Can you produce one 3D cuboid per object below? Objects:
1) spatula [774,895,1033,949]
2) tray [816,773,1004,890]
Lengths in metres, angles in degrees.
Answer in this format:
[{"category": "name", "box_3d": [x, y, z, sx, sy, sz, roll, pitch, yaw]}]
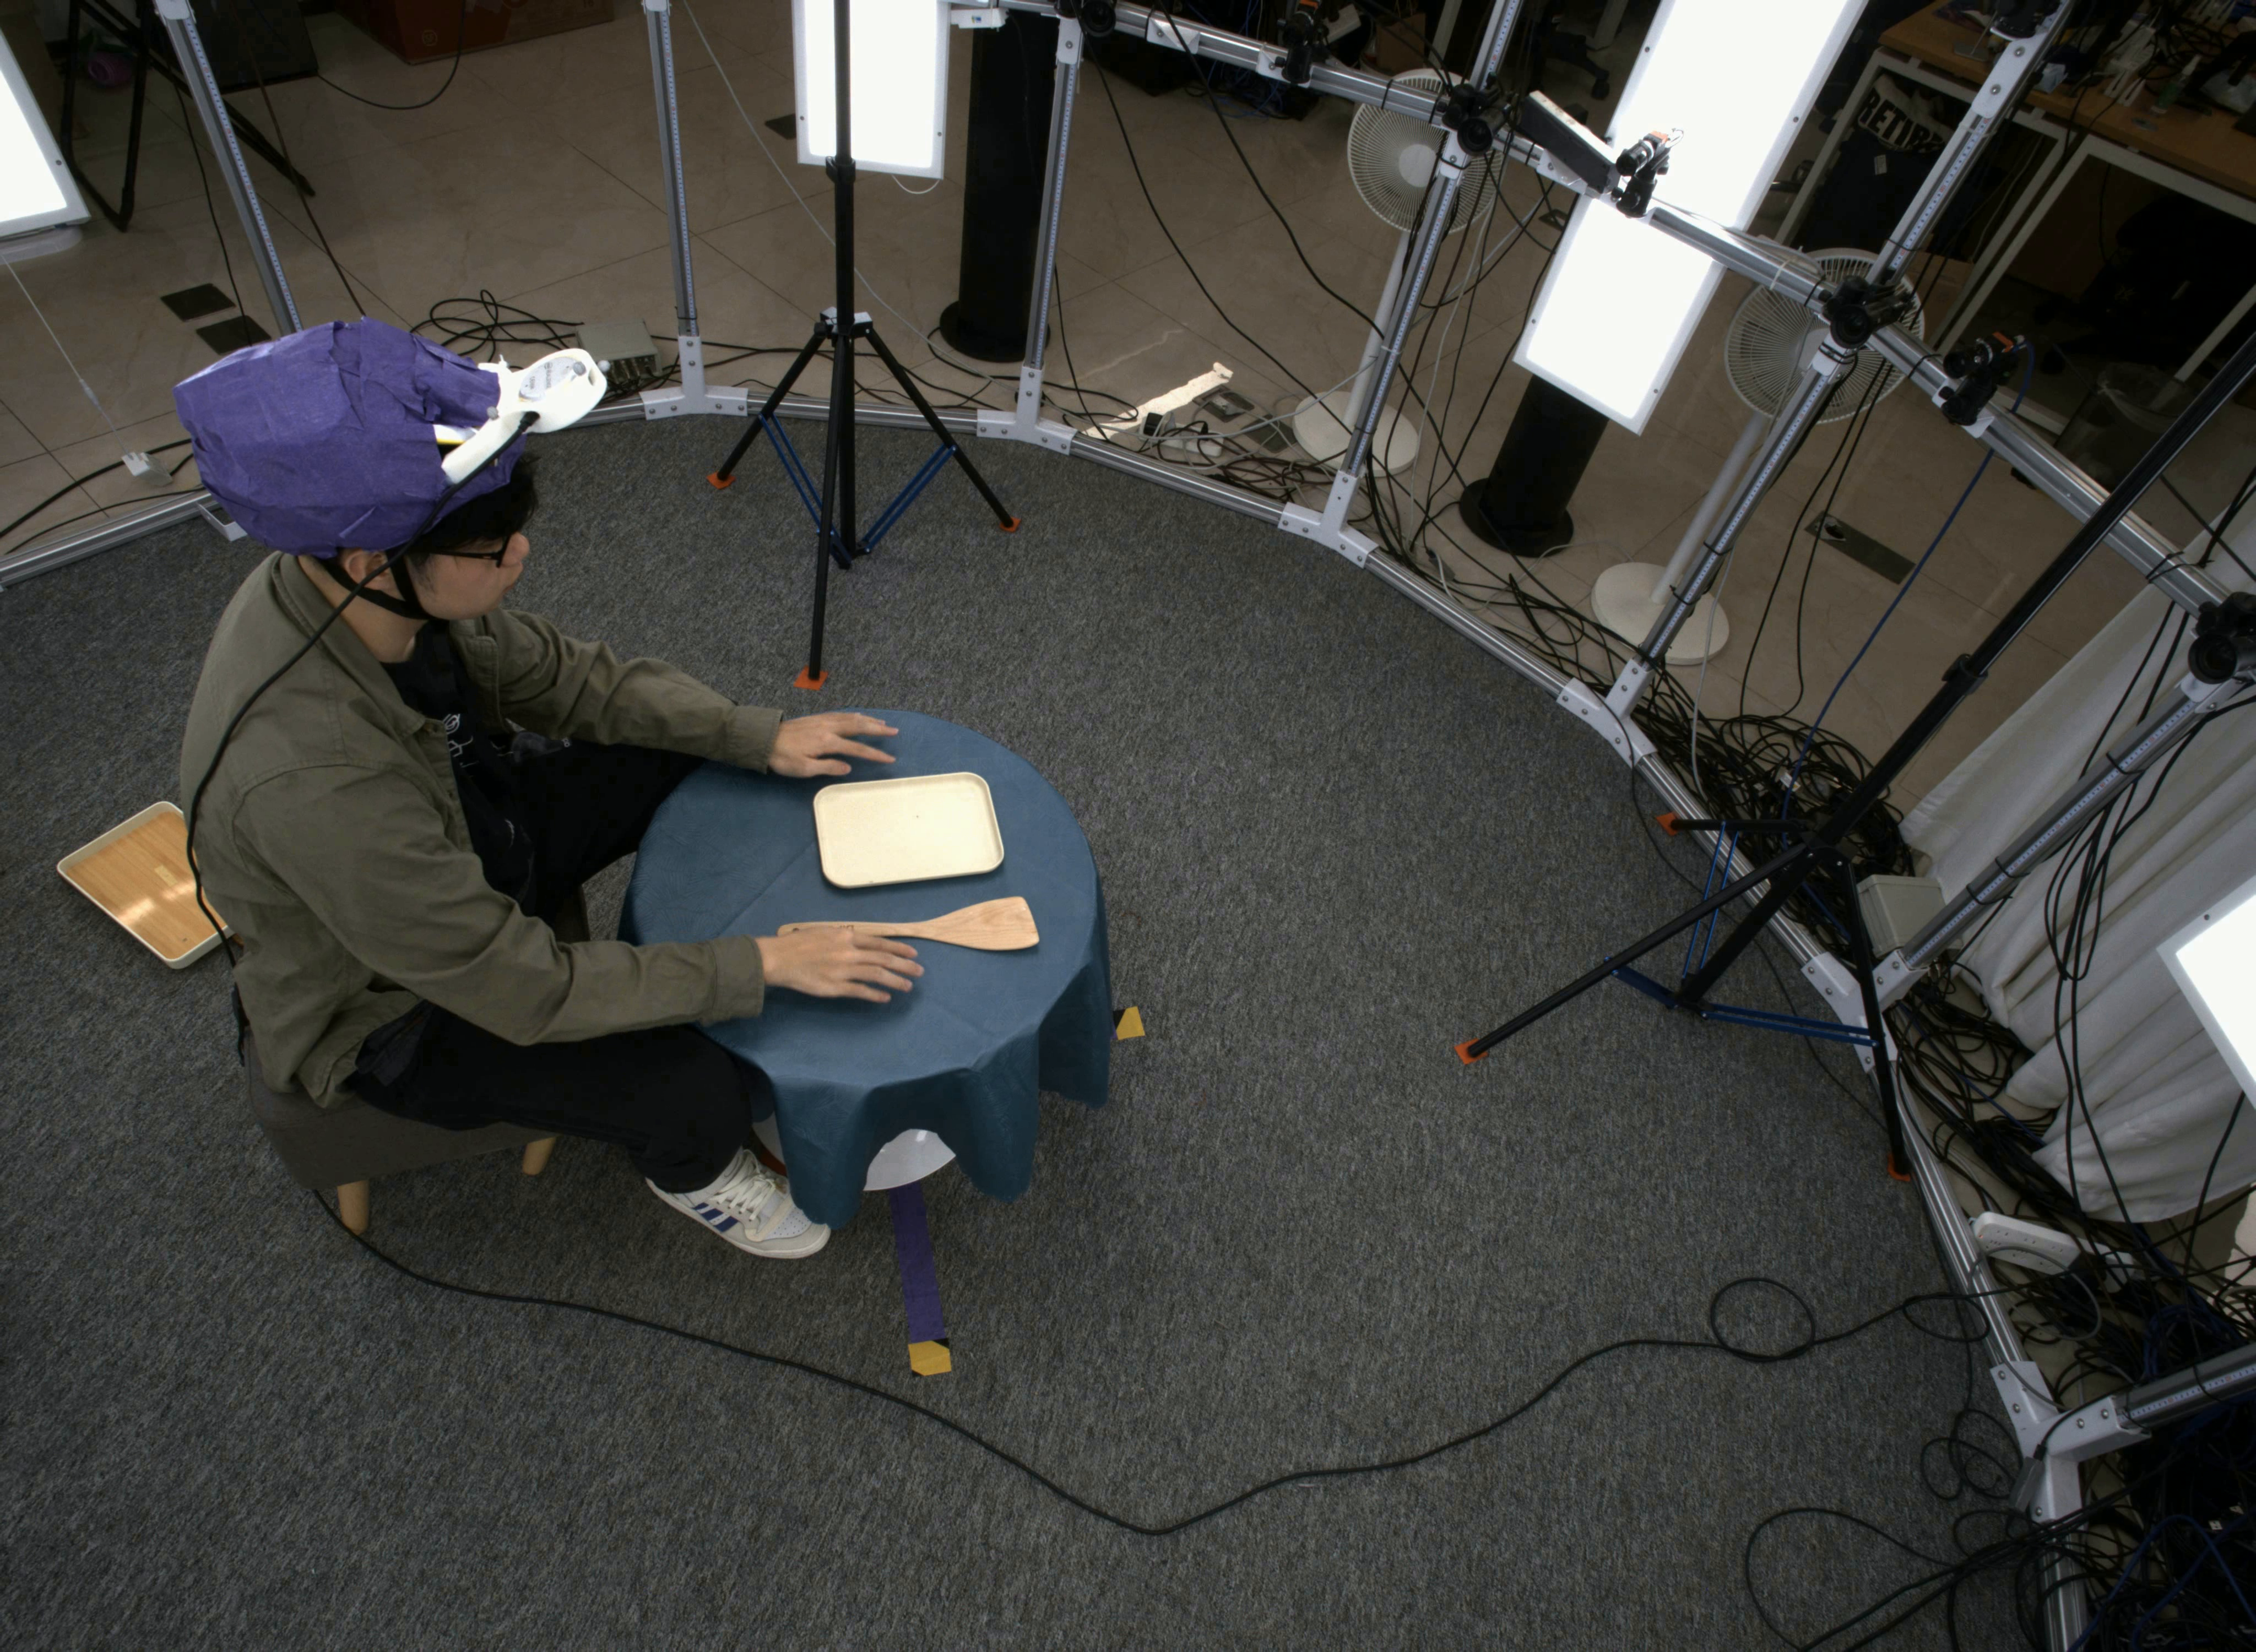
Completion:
[{"category": "spatula", "box_3d": [-0.287, 0.128, 1.668, 0.328, 0.017, 0.078, -2, 54, -15]}, {"category": "tray", "box_3d": [-0.295, 0.006, 1.756, 0.240, 0.018, 0.167, -6, 55, -17]}]
